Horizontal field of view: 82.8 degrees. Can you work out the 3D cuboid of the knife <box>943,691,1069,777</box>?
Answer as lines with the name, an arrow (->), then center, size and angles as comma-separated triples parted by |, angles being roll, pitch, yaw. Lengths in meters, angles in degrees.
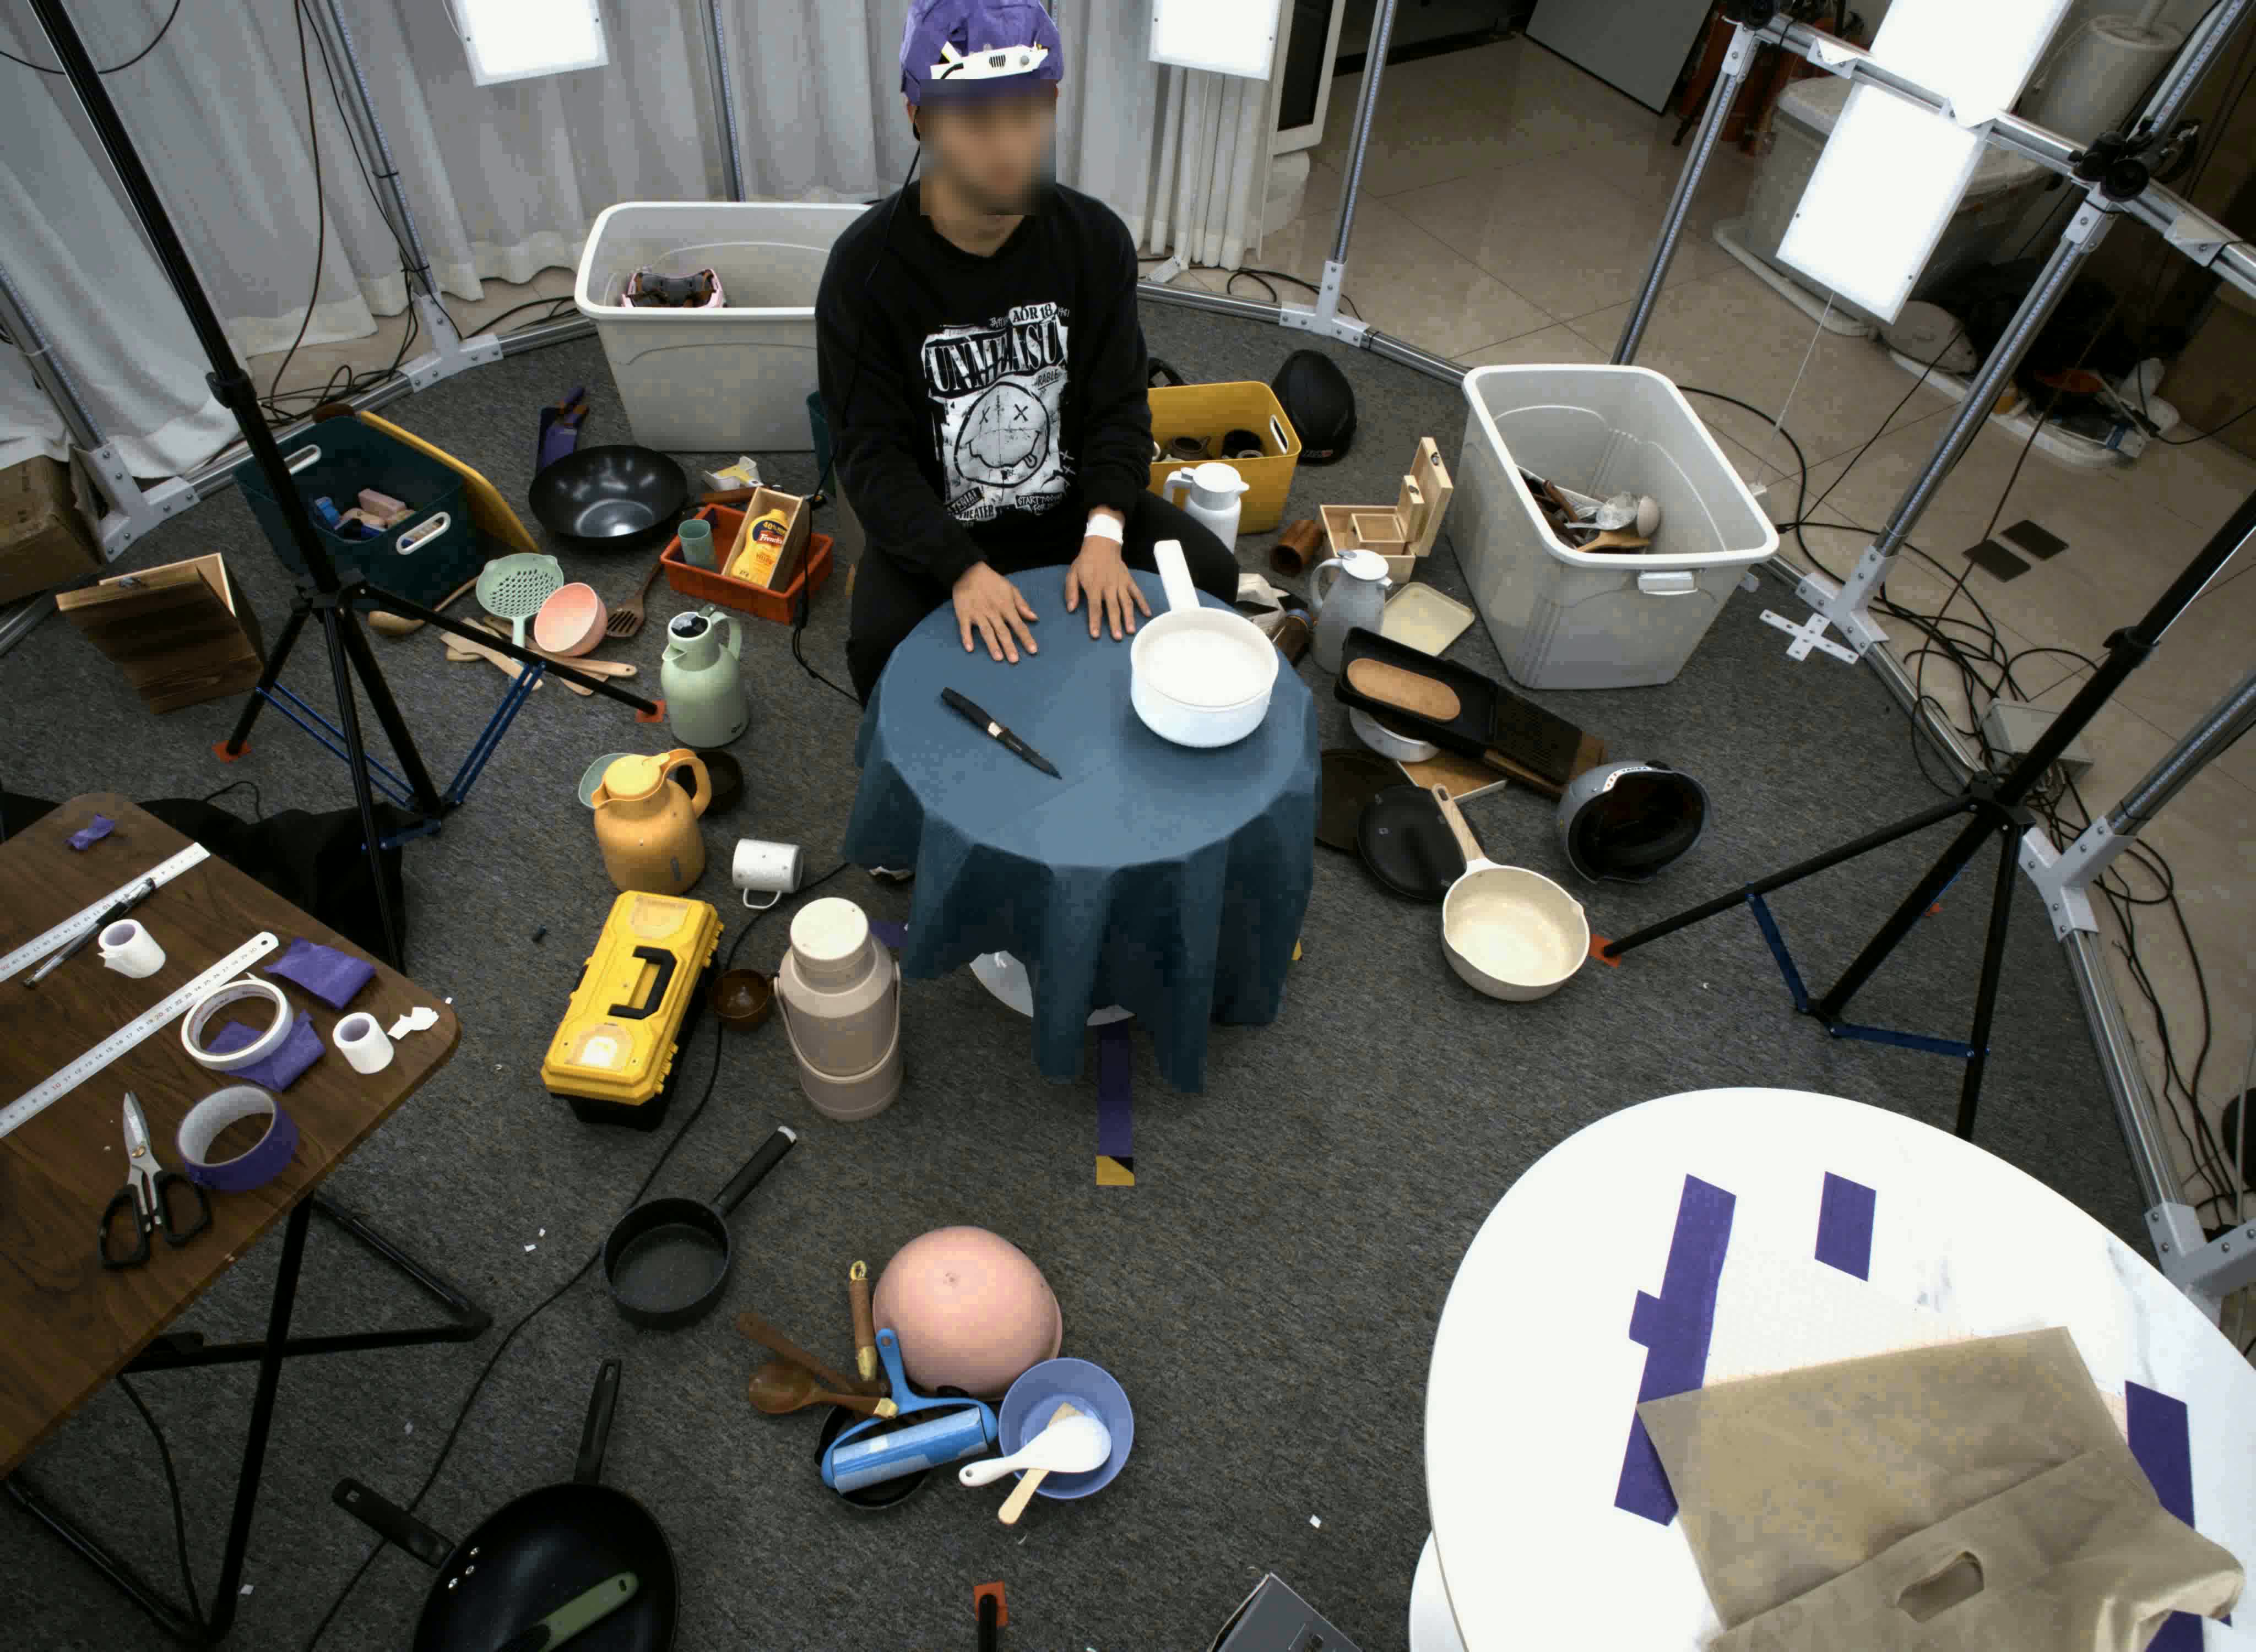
knife -> -0.169, -0.126, 1.762 | 0.228, 0.017, 0.026 | 36, 42, 23

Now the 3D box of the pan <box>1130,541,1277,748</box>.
pan -> 0.089, -0.260, 1.838 | 0.201, 0.099, 0.364 | -6, 49, -7
